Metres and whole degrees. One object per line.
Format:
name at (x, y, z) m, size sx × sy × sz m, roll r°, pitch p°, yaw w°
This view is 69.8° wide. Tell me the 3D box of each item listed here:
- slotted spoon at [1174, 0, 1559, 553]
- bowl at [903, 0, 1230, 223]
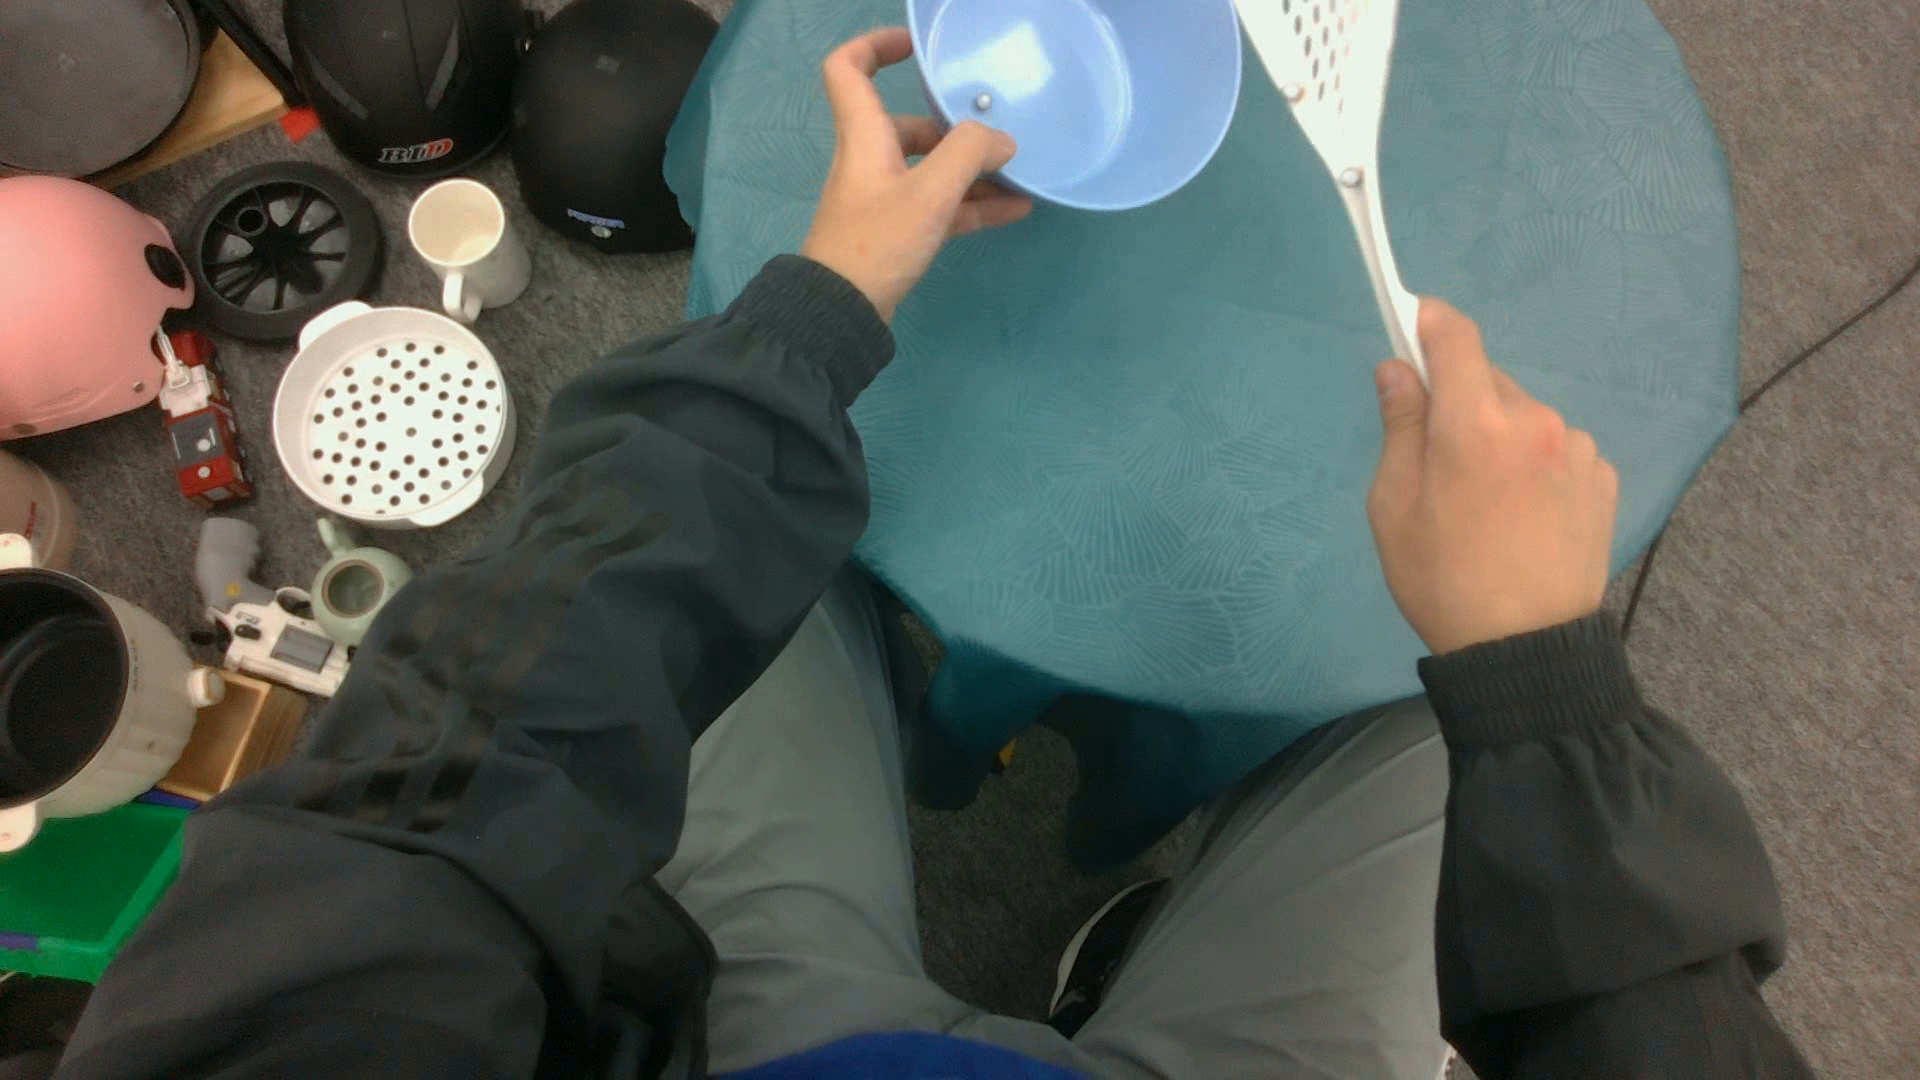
slotted spoon at (0.165, -0.151, 0.577) m, size 0.050 × 0.136 × 0.348 m, roll -18°, pitch 88°, yaw -6°
bowl at (0.044, -0.236, 0.693) m, size 0.176 × 0.070 × 0.176 m, roll 2°, pitch 84°, yaw -23°
